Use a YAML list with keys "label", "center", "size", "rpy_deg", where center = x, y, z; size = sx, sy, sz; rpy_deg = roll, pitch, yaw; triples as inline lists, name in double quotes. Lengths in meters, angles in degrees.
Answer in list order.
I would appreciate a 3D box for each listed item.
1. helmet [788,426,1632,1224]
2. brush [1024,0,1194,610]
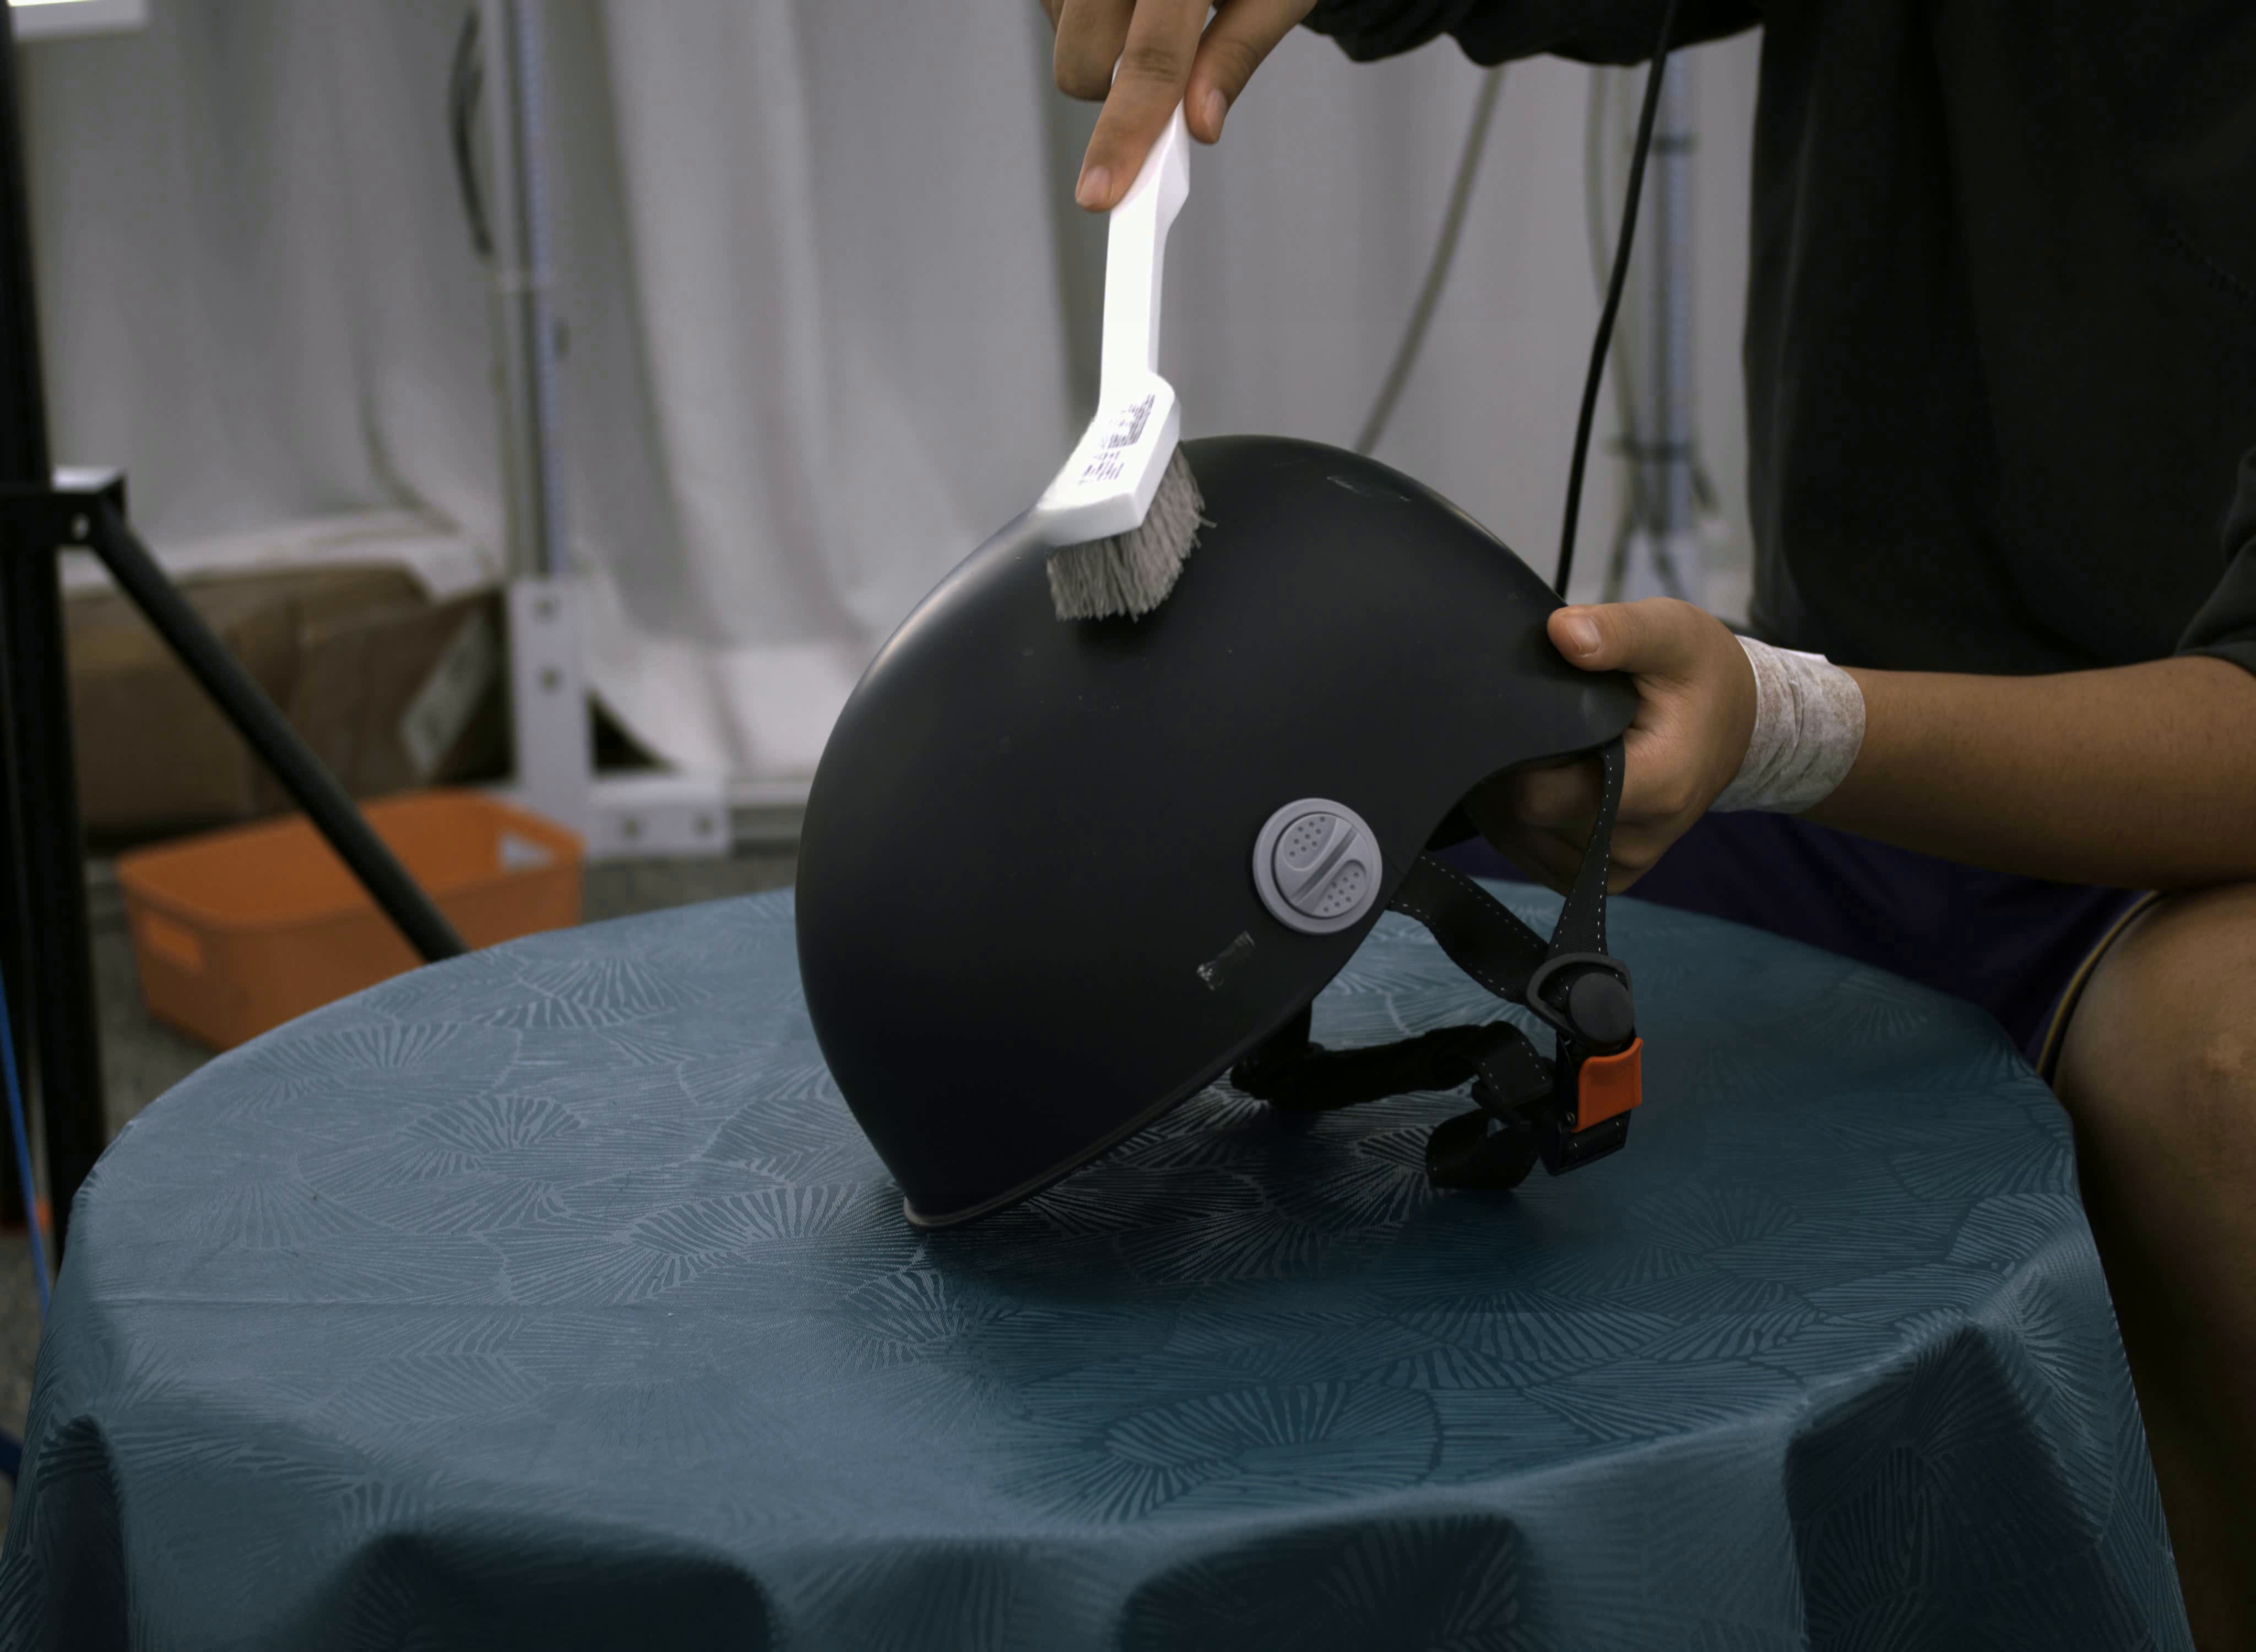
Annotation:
- label: "helmet"
  center: [0.006, -0.018, 1.553]
  size: [0.269, 0.166, 0.233]
  rpy_deg: [-36, 6, -28]
- label: "brush"
  center: [0.005, -0.157, 1.526]
  size: [0.035, 0.049, 0.245]
  rpy_deg: [-9, 47, 19]
